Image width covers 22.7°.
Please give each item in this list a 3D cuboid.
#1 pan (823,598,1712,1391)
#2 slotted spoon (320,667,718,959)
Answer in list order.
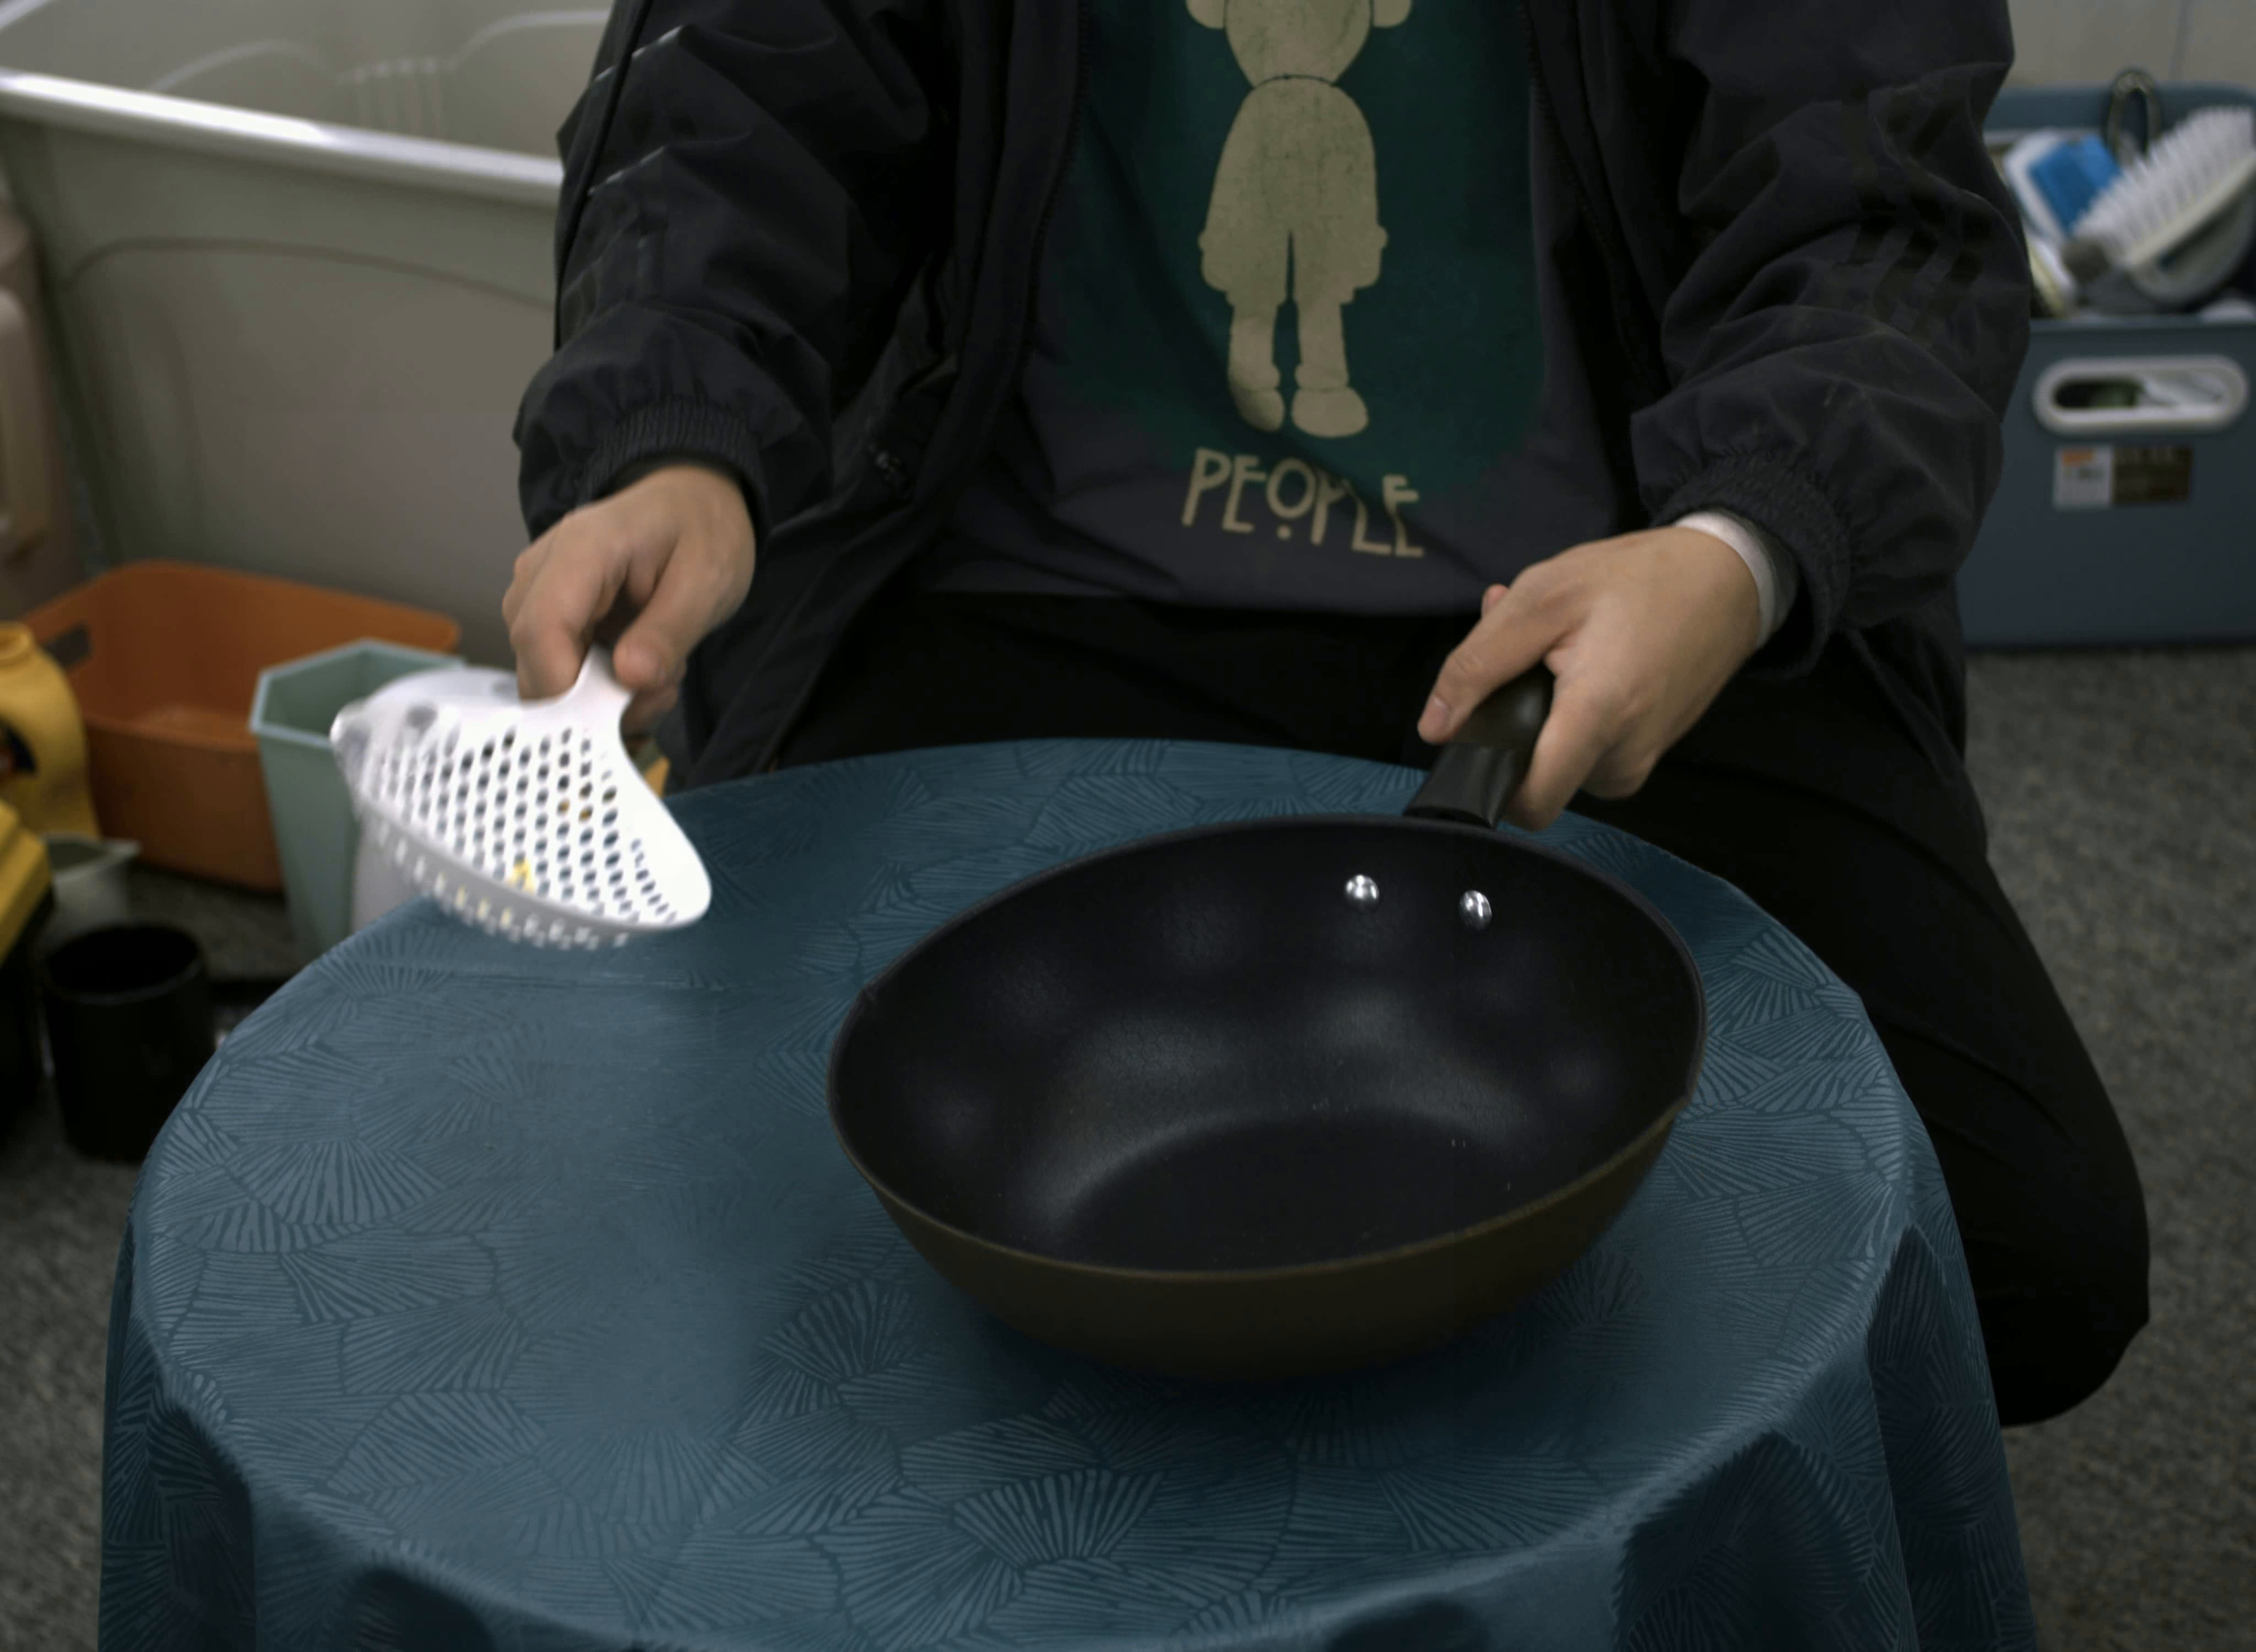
[{"bbox_3d":[0.084,0.057,1.868,0.286,0.086,0.471,8,31,23],"label":"pan"},{"bbox_3d":[-0.194,-0.017,1.914,0.136,0.050,0.352,23,18,-3],"label":"slotted spoon"}]
